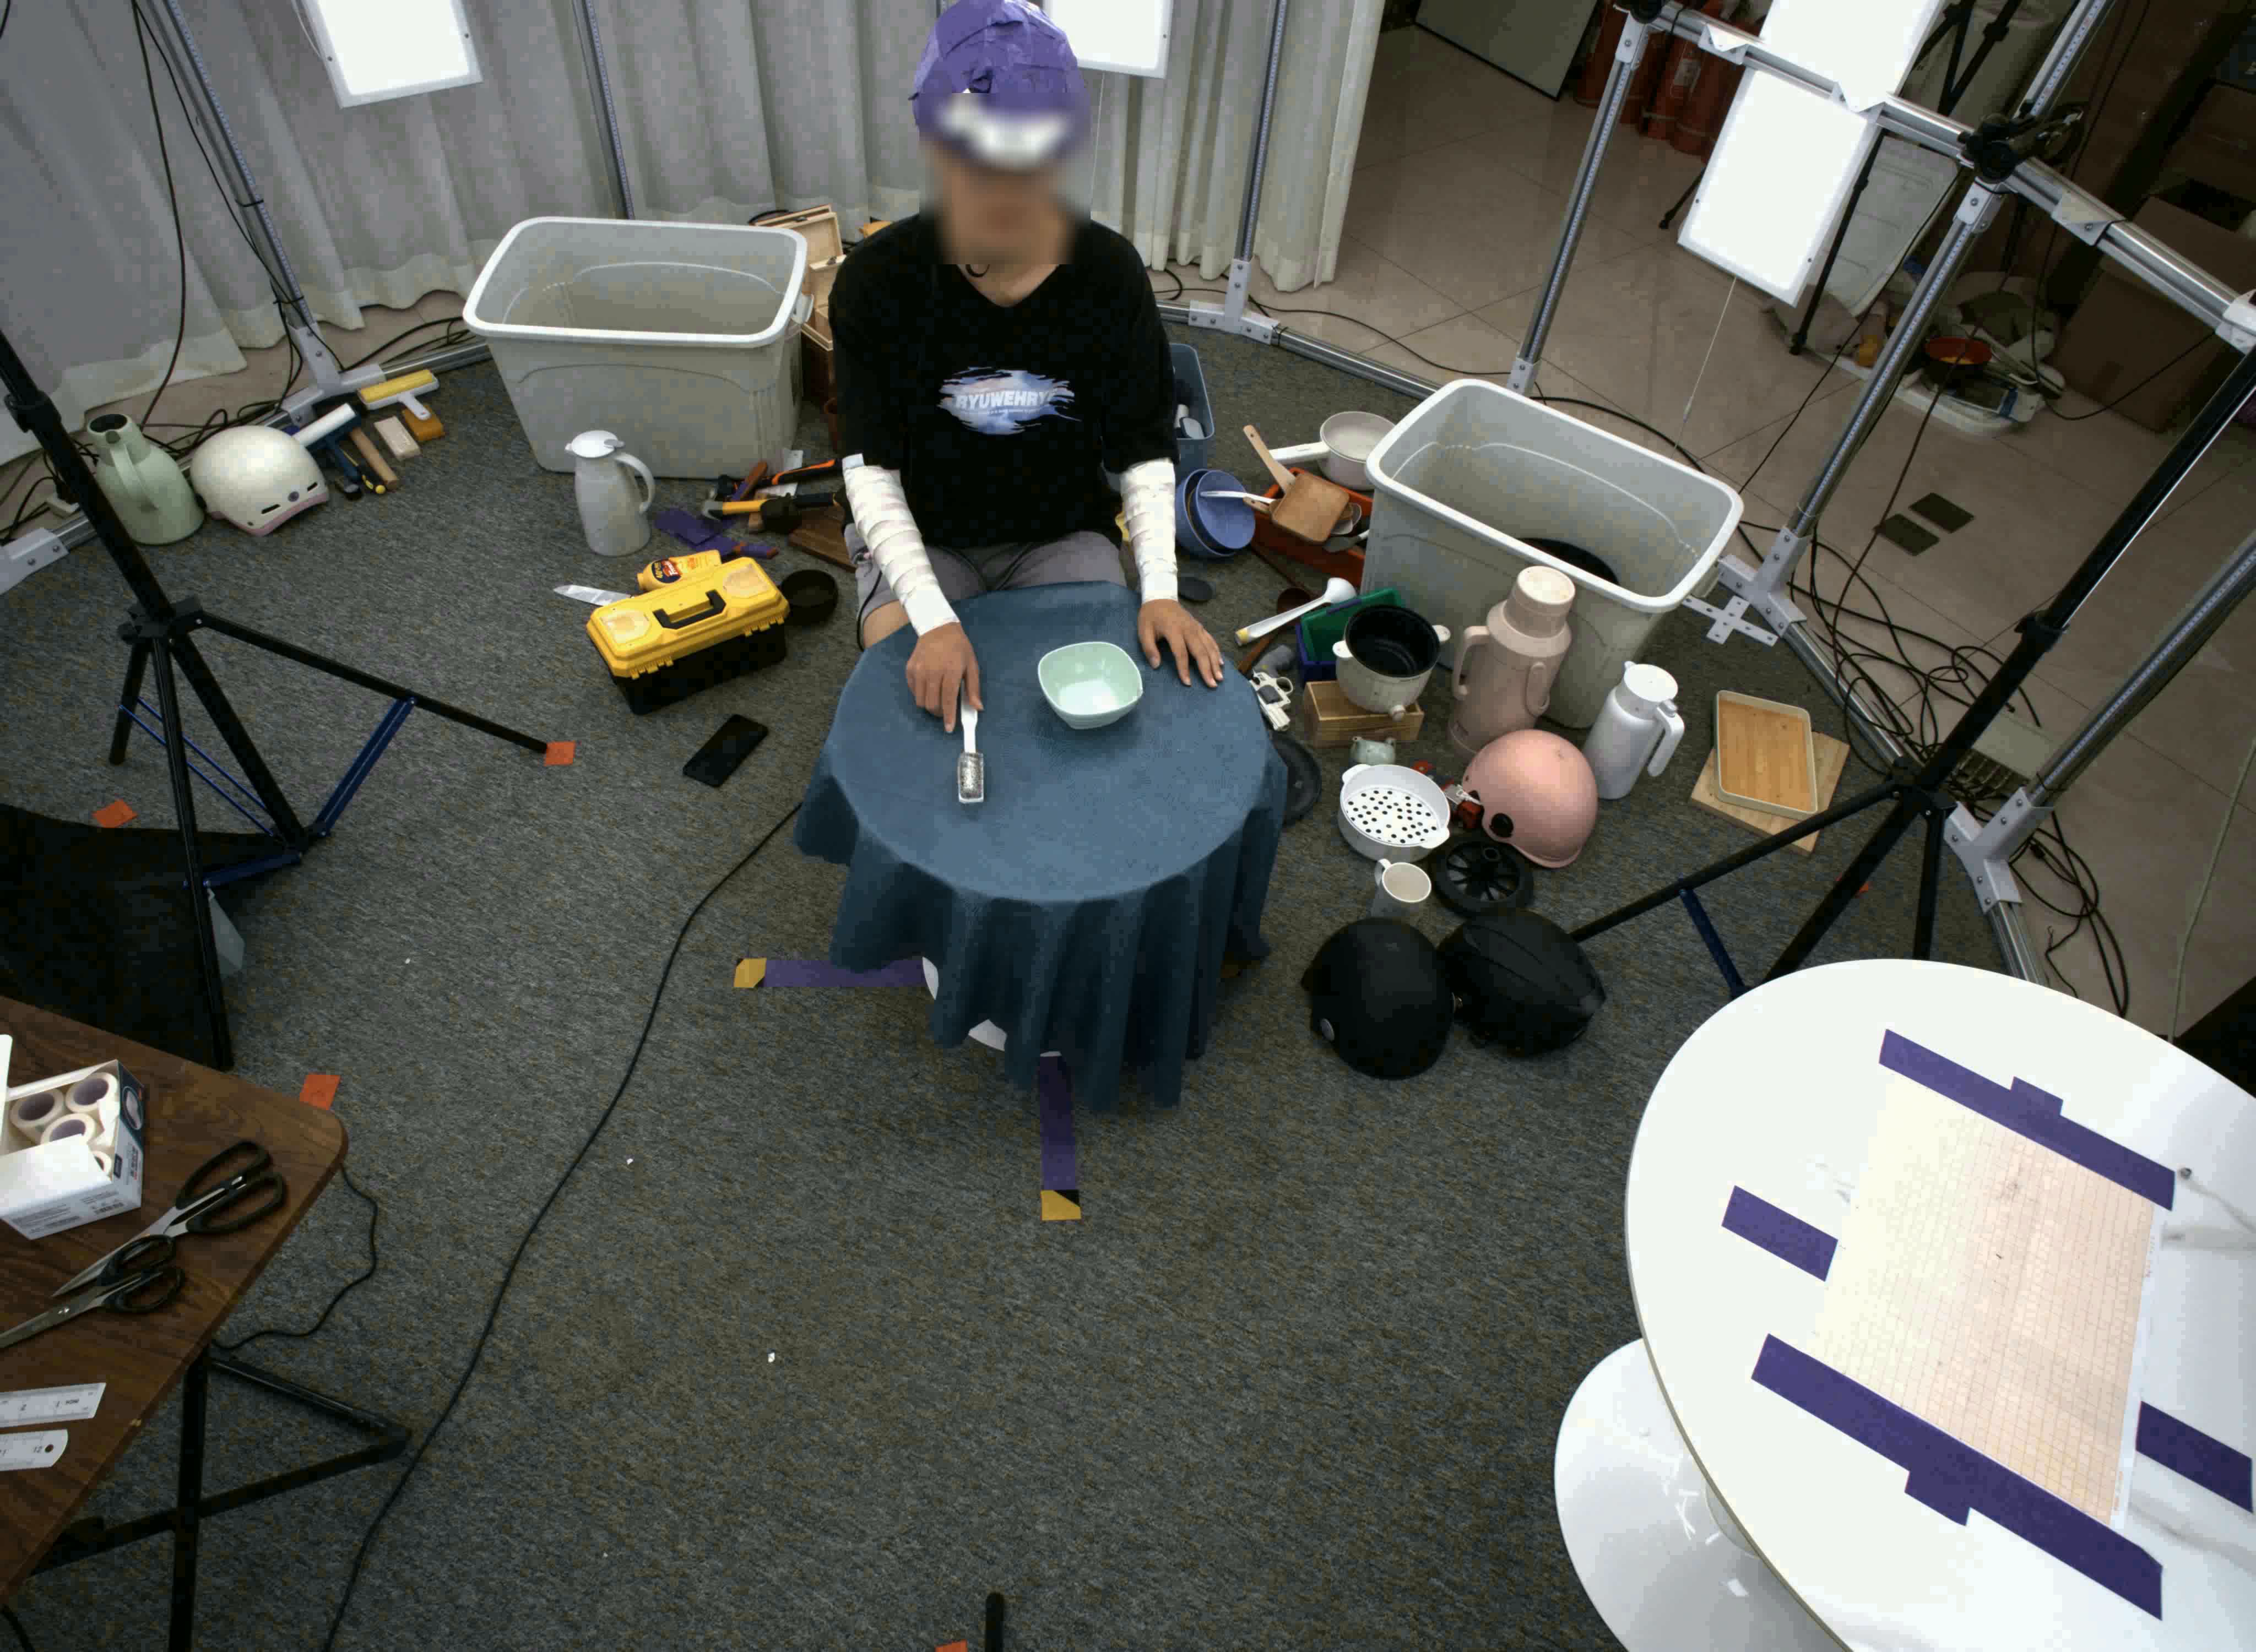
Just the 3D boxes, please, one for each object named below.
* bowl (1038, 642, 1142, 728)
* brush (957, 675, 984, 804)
[{"bbox_3d":[-0.055,-0.189,1.797,0.151,0.057,0.155,3,49,-3],"label":"bowl"},{"bbox_3d":[-0.210,-0.131,1.741,0.034,0.049,0.250,2,50,-6],"label":"brush"}]
